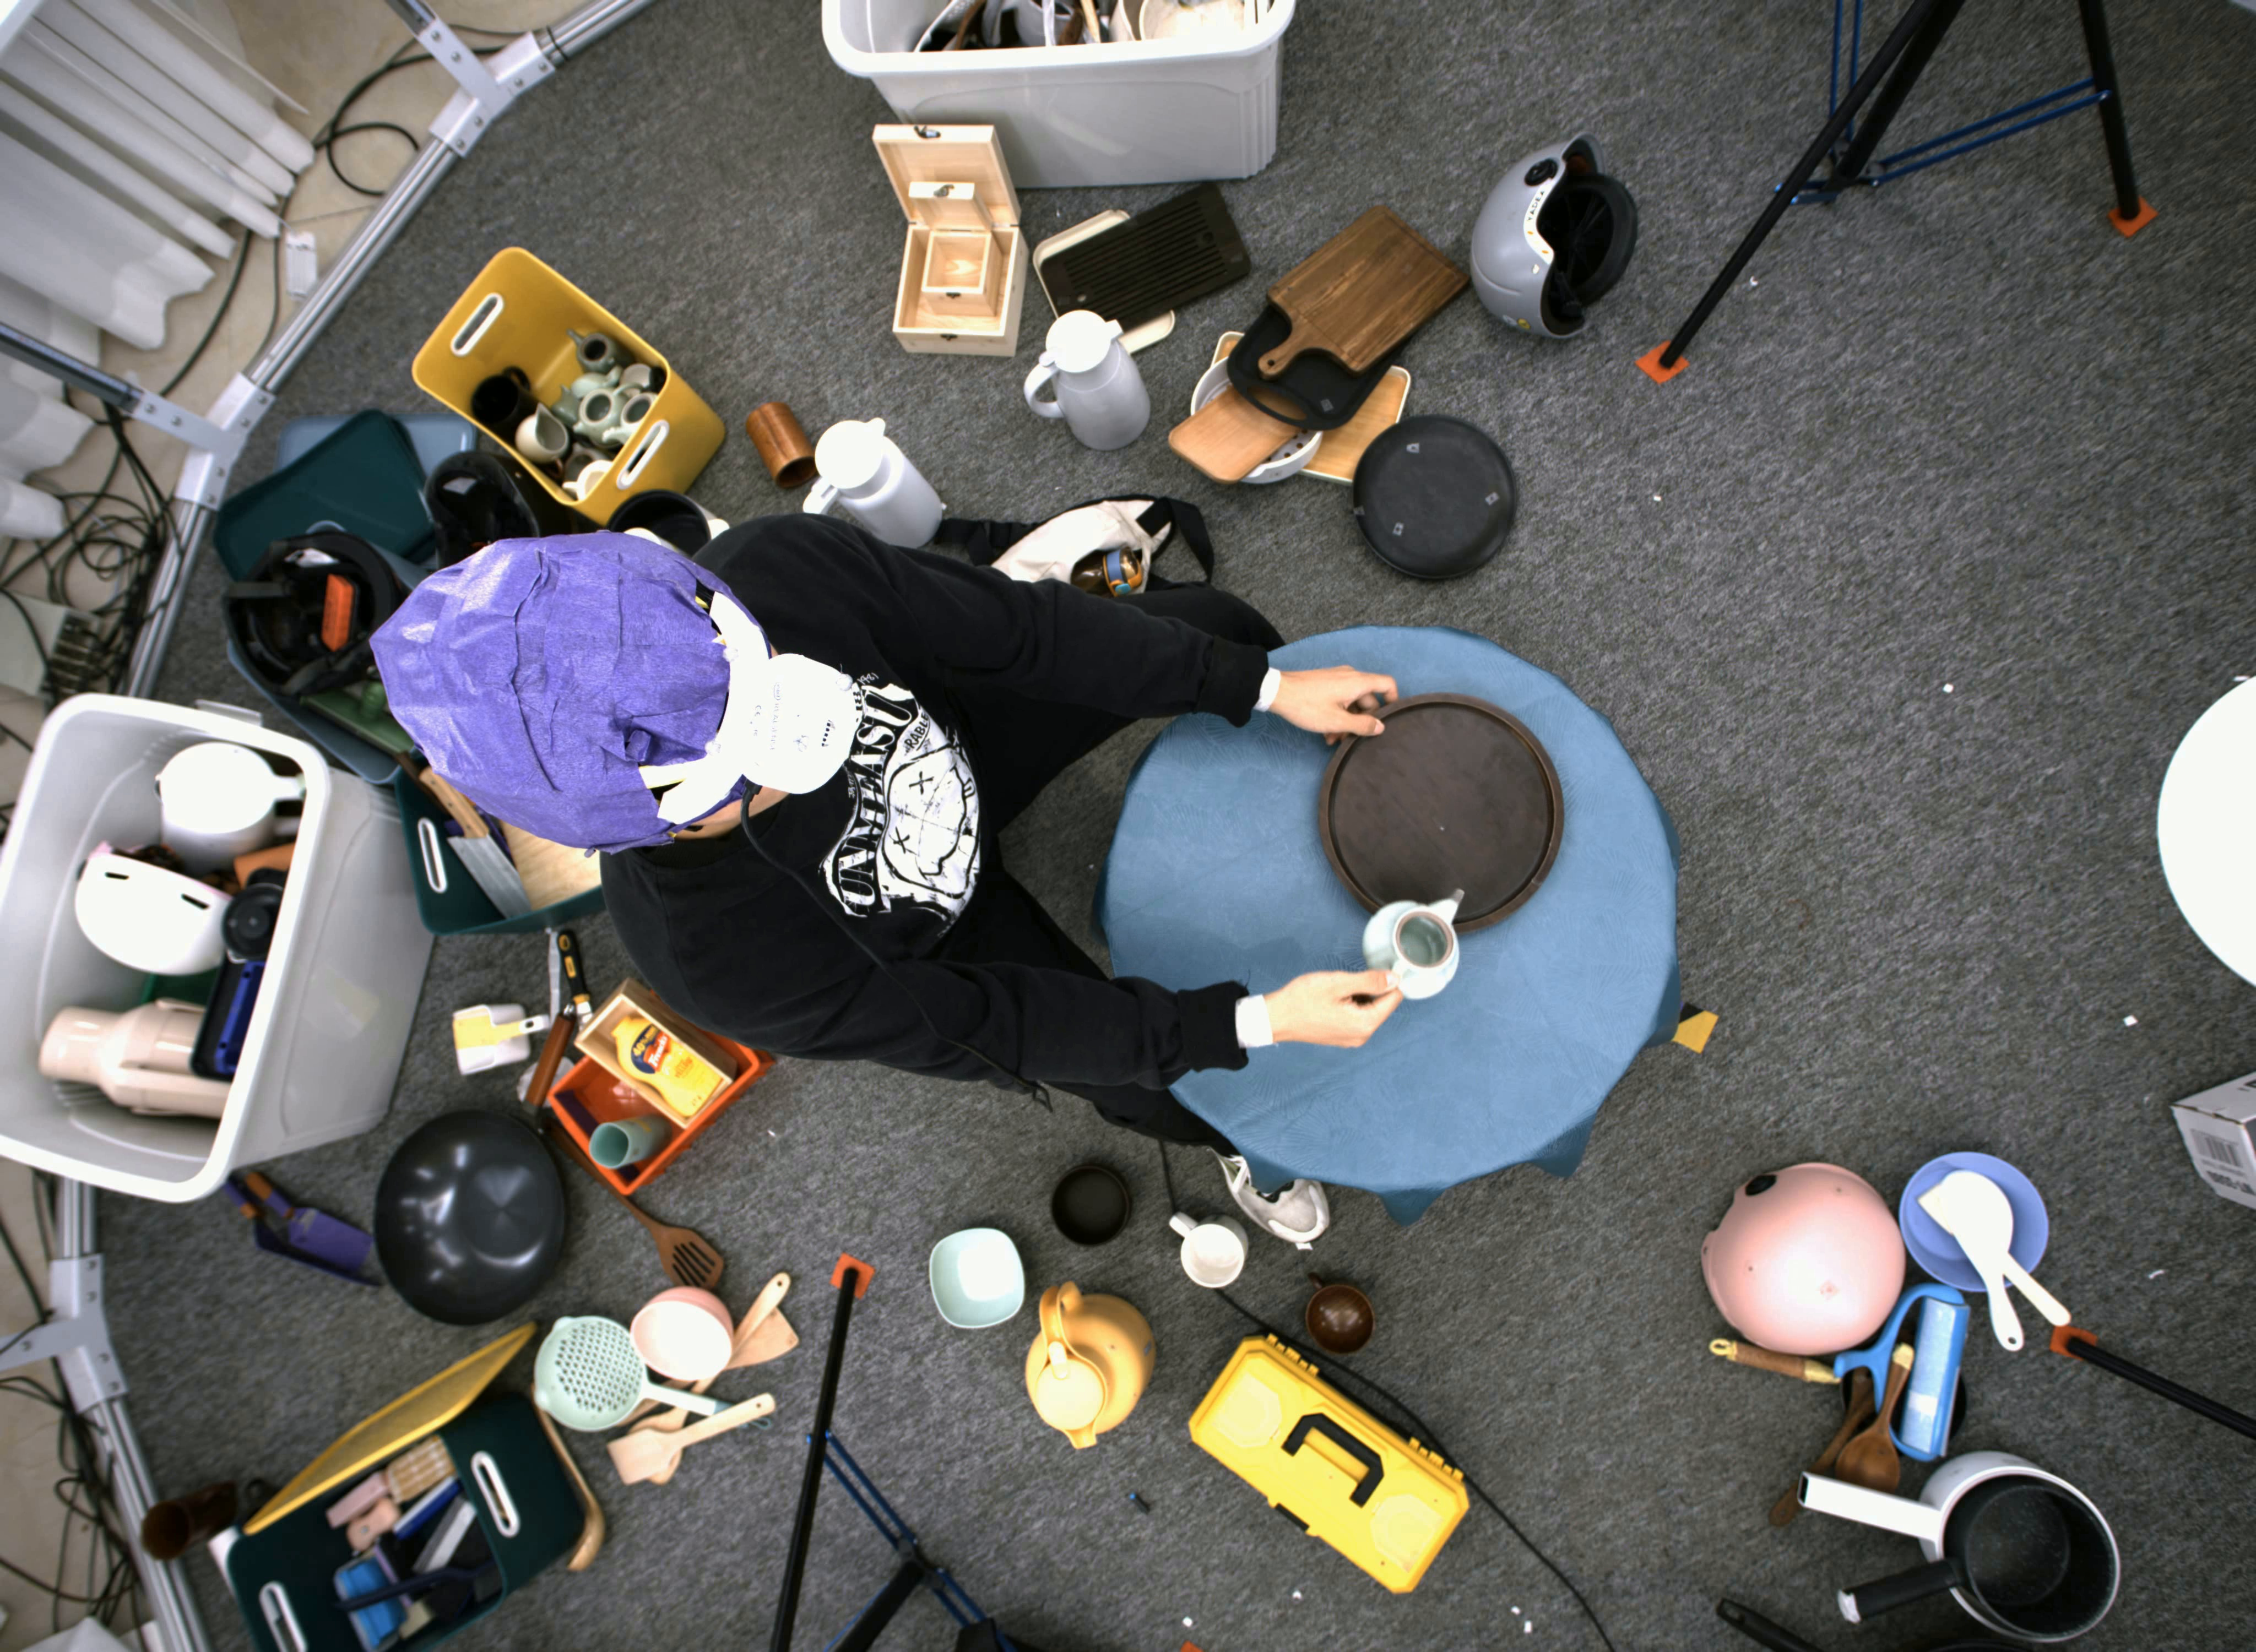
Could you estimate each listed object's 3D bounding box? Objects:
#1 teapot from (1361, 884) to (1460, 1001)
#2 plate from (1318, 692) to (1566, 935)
[{"bbox_3d":[0.271,0.114,1.321,0.096,0.062,0.135,39,70,4],"label":"teapot"},{"bbox_3d":[0.325,-0.014,1.433,0.255,0.029,0.255,0,92,7],"label":"plate"}]
